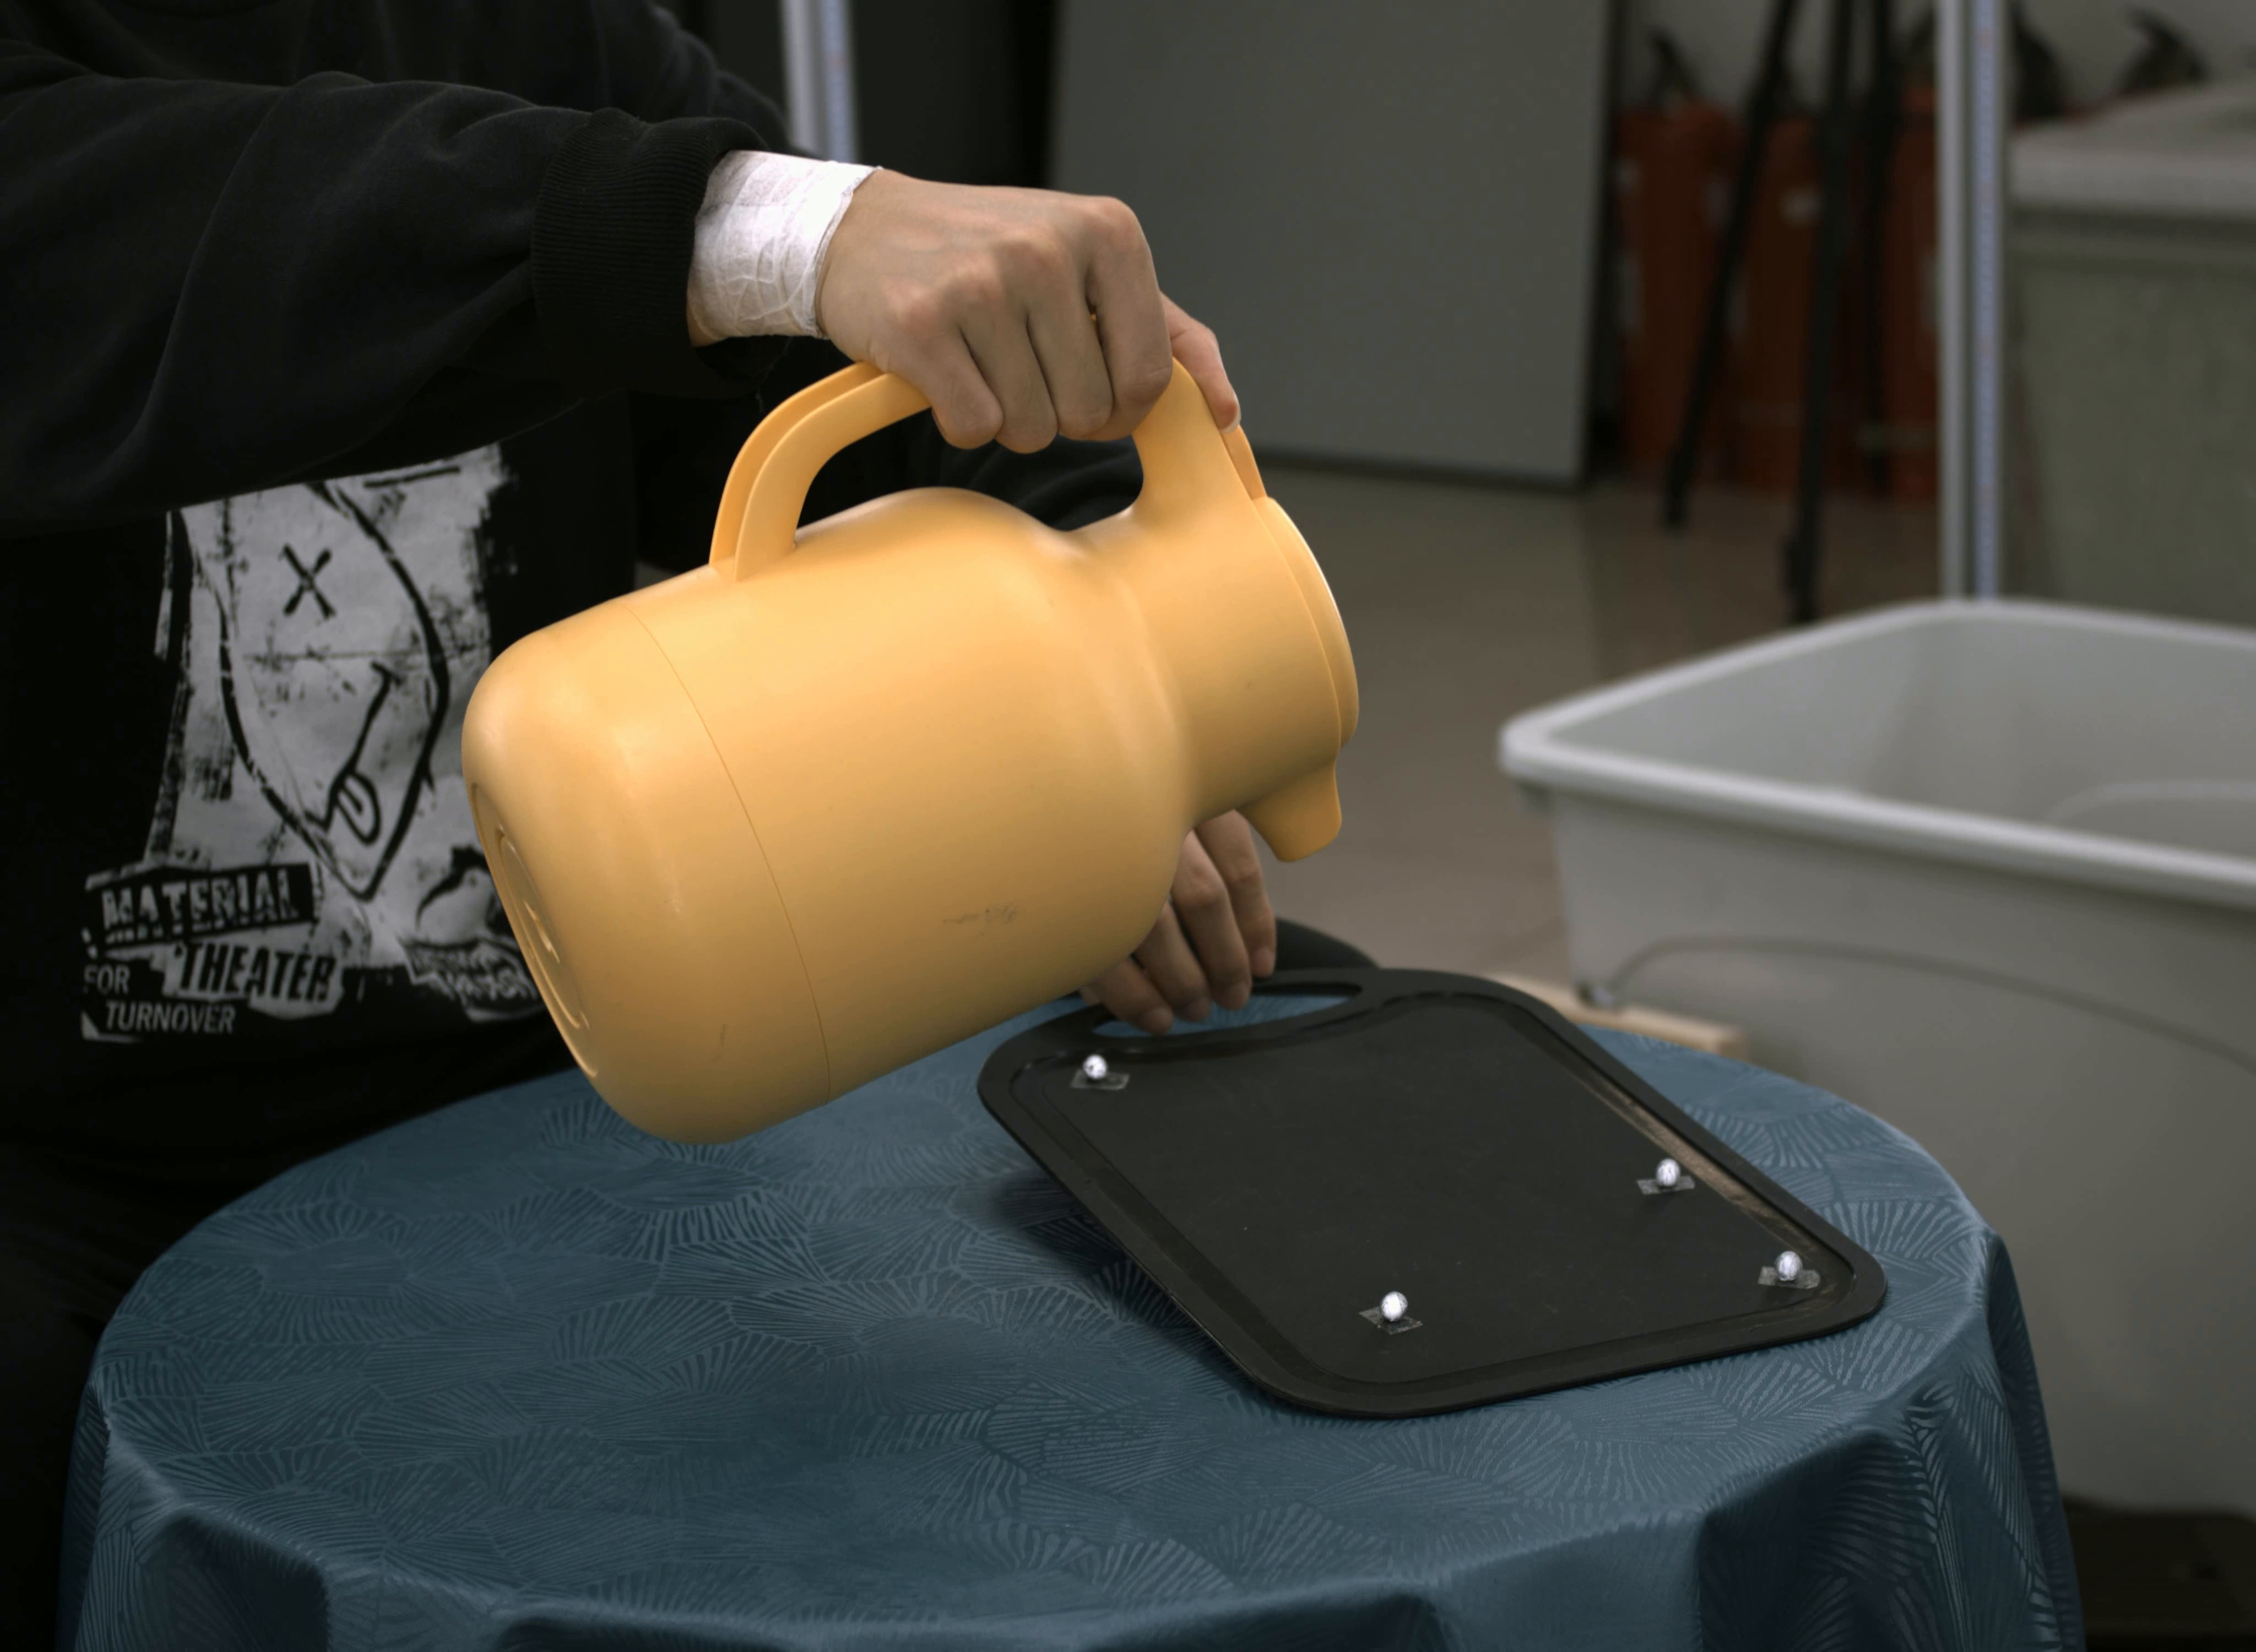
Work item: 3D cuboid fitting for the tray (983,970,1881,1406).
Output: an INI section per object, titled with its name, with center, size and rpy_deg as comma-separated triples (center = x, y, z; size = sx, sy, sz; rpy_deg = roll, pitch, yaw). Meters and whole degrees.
[tray]
center = 0.086, 0.106, 1.714
size = 0.207, 0.010, 0.329
rpy_deg = -9, 22, -20

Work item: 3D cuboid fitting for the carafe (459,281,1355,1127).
[carafe]
center = -0.067, -0.042, 1.605
size = 0.256, 0.204, 0.165
rpy_deg = -21, 16, -14
